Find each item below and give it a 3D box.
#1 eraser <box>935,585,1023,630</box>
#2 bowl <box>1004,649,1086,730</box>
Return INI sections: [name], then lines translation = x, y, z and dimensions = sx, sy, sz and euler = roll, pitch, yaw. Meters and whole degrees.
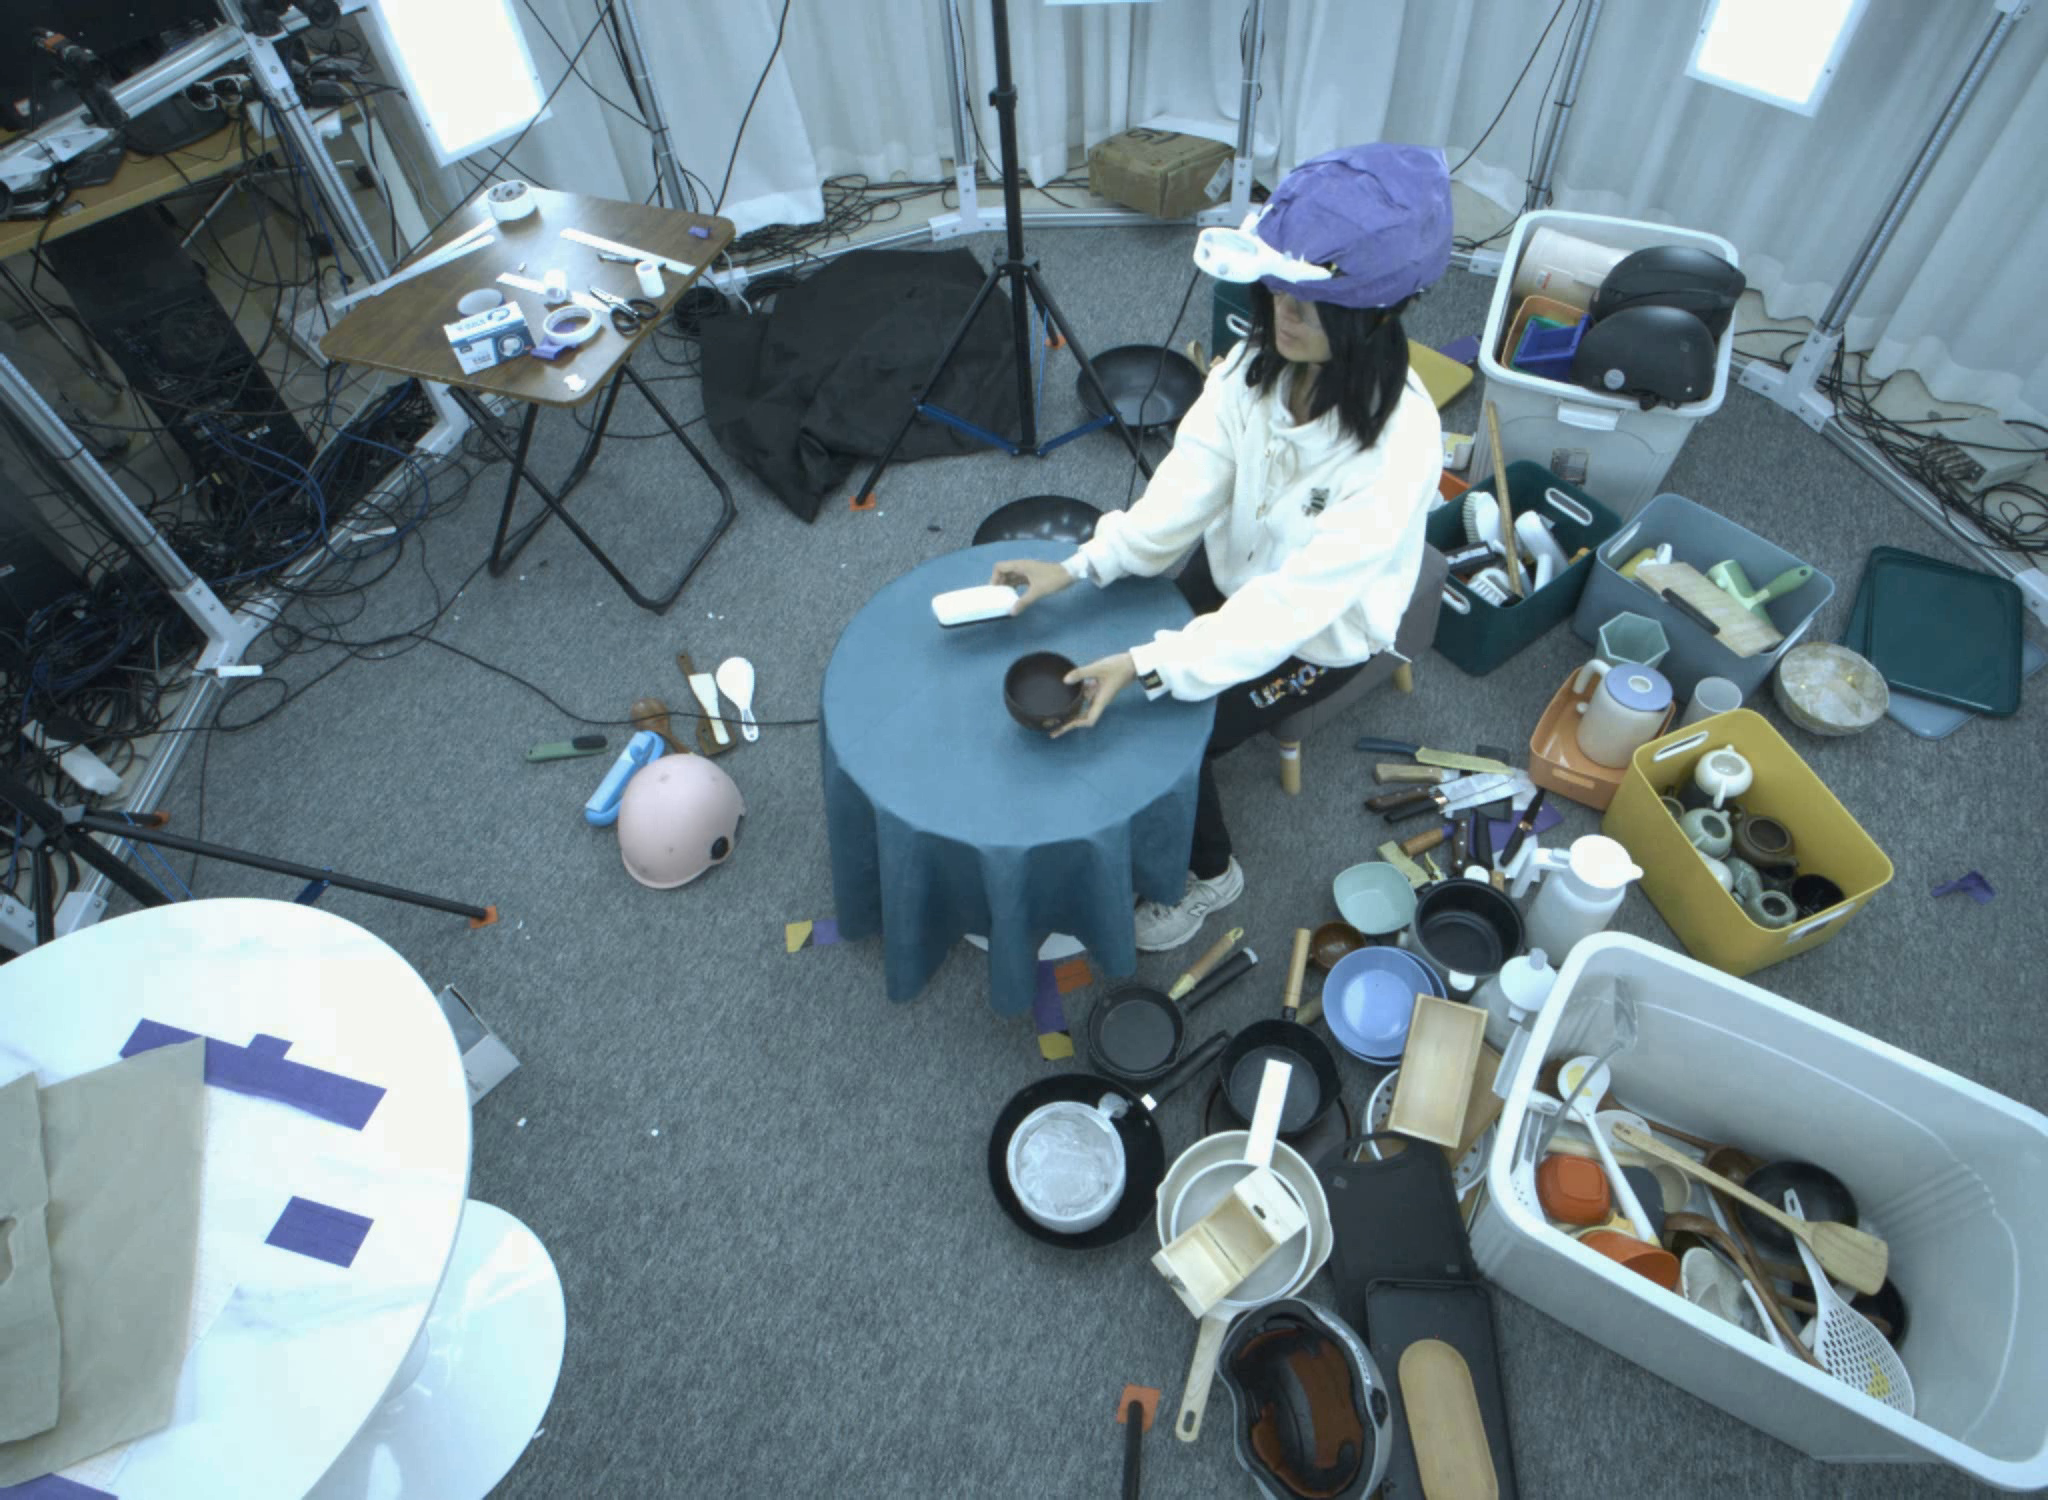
[eraser]
translation = -0.069, -0.220, 1.880
dimensions = 0.132, 0.035, 0.062
euler = -12, 43, -15
[bowl]
translation = 0.029, -0.080, 1.770
dimensions = 0.118, 0.070, 0.117
euler = 3, 58, -3
